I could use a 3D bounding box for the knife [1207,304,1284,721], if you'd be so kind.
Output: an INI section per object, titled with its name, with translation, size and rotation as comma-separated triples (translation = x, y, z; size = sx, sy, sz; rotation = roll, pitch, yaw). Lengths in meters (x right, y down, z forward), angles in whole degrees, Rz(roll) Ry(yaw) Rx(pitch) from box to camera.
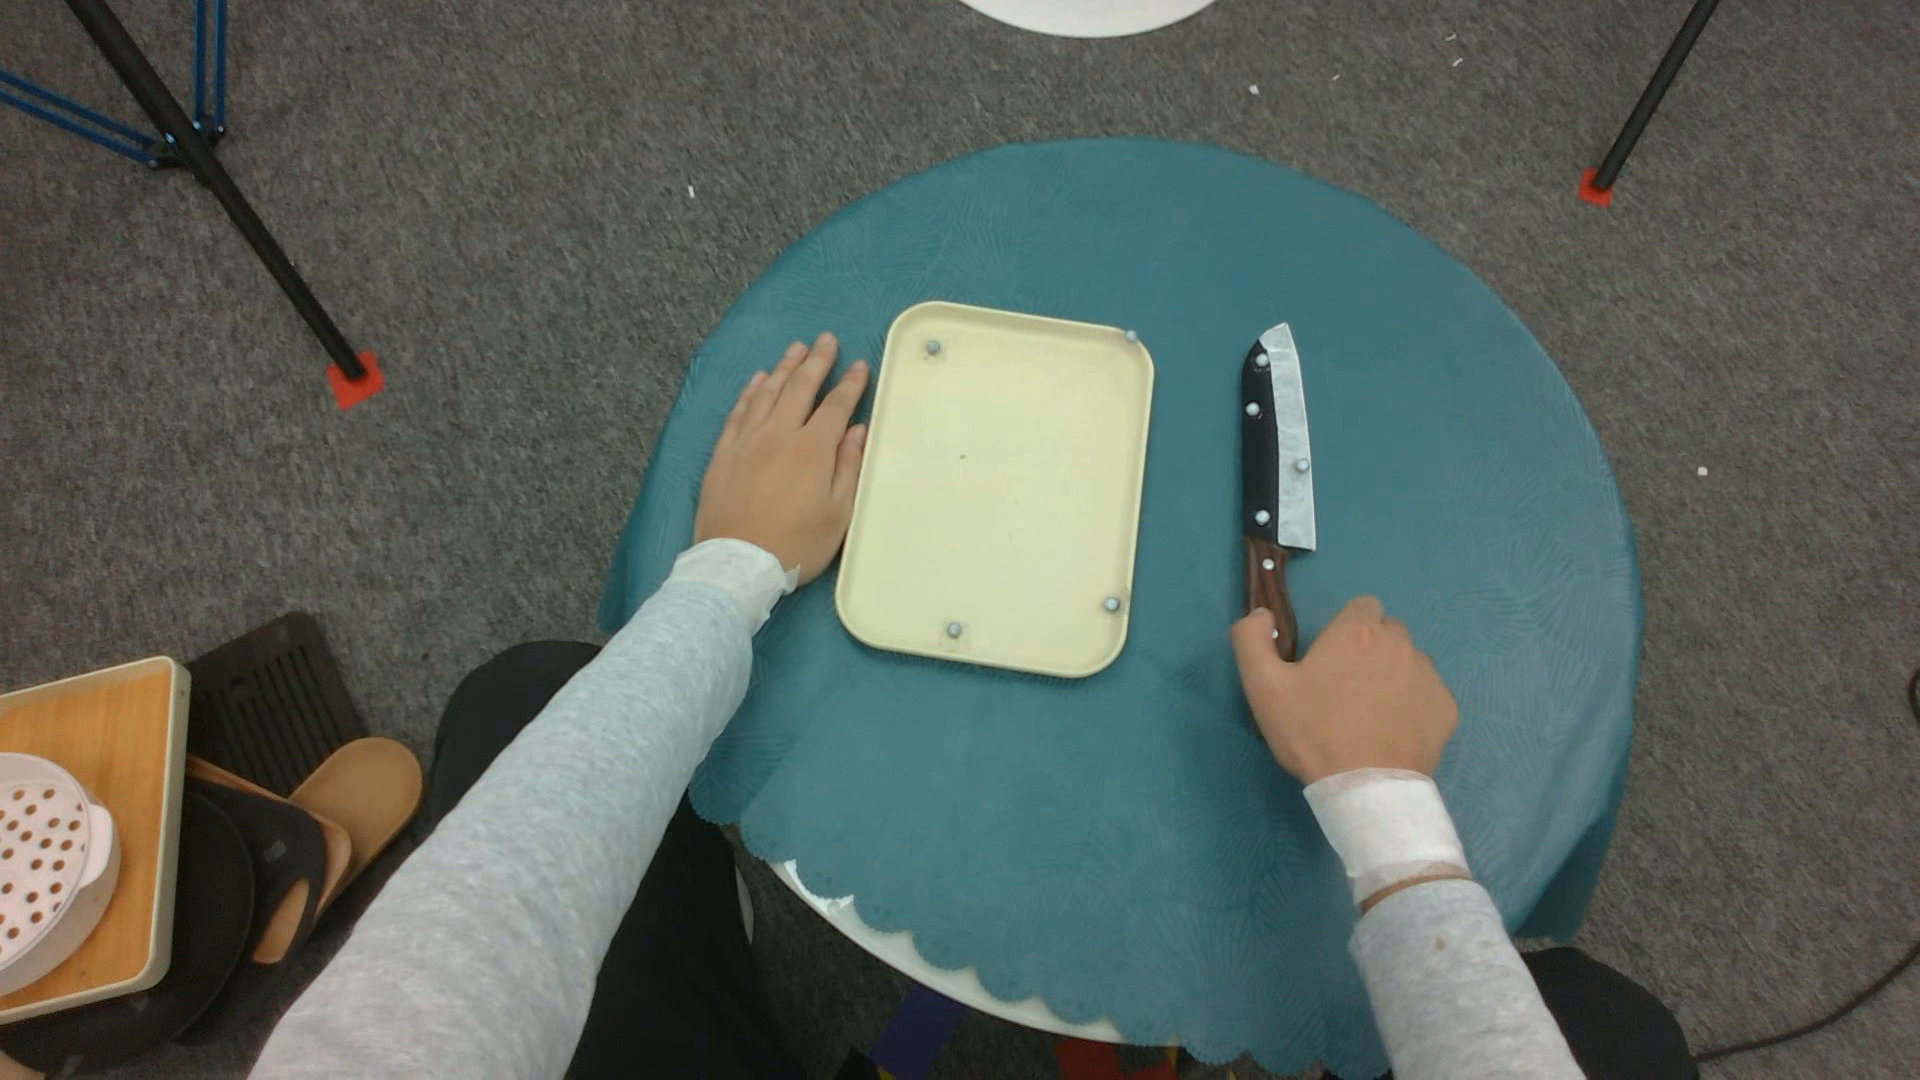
[knife]
translation = 0.172, -0.027, 0.834
size = 0.050, 0.020, 0.290
rotation = 9, 62, -5

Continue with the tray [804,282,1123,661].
[tray]
translation = 0.006, -0.046, 0.829
size = 0.171, 0.017, 0.240
rotation = 9, 65, 0
